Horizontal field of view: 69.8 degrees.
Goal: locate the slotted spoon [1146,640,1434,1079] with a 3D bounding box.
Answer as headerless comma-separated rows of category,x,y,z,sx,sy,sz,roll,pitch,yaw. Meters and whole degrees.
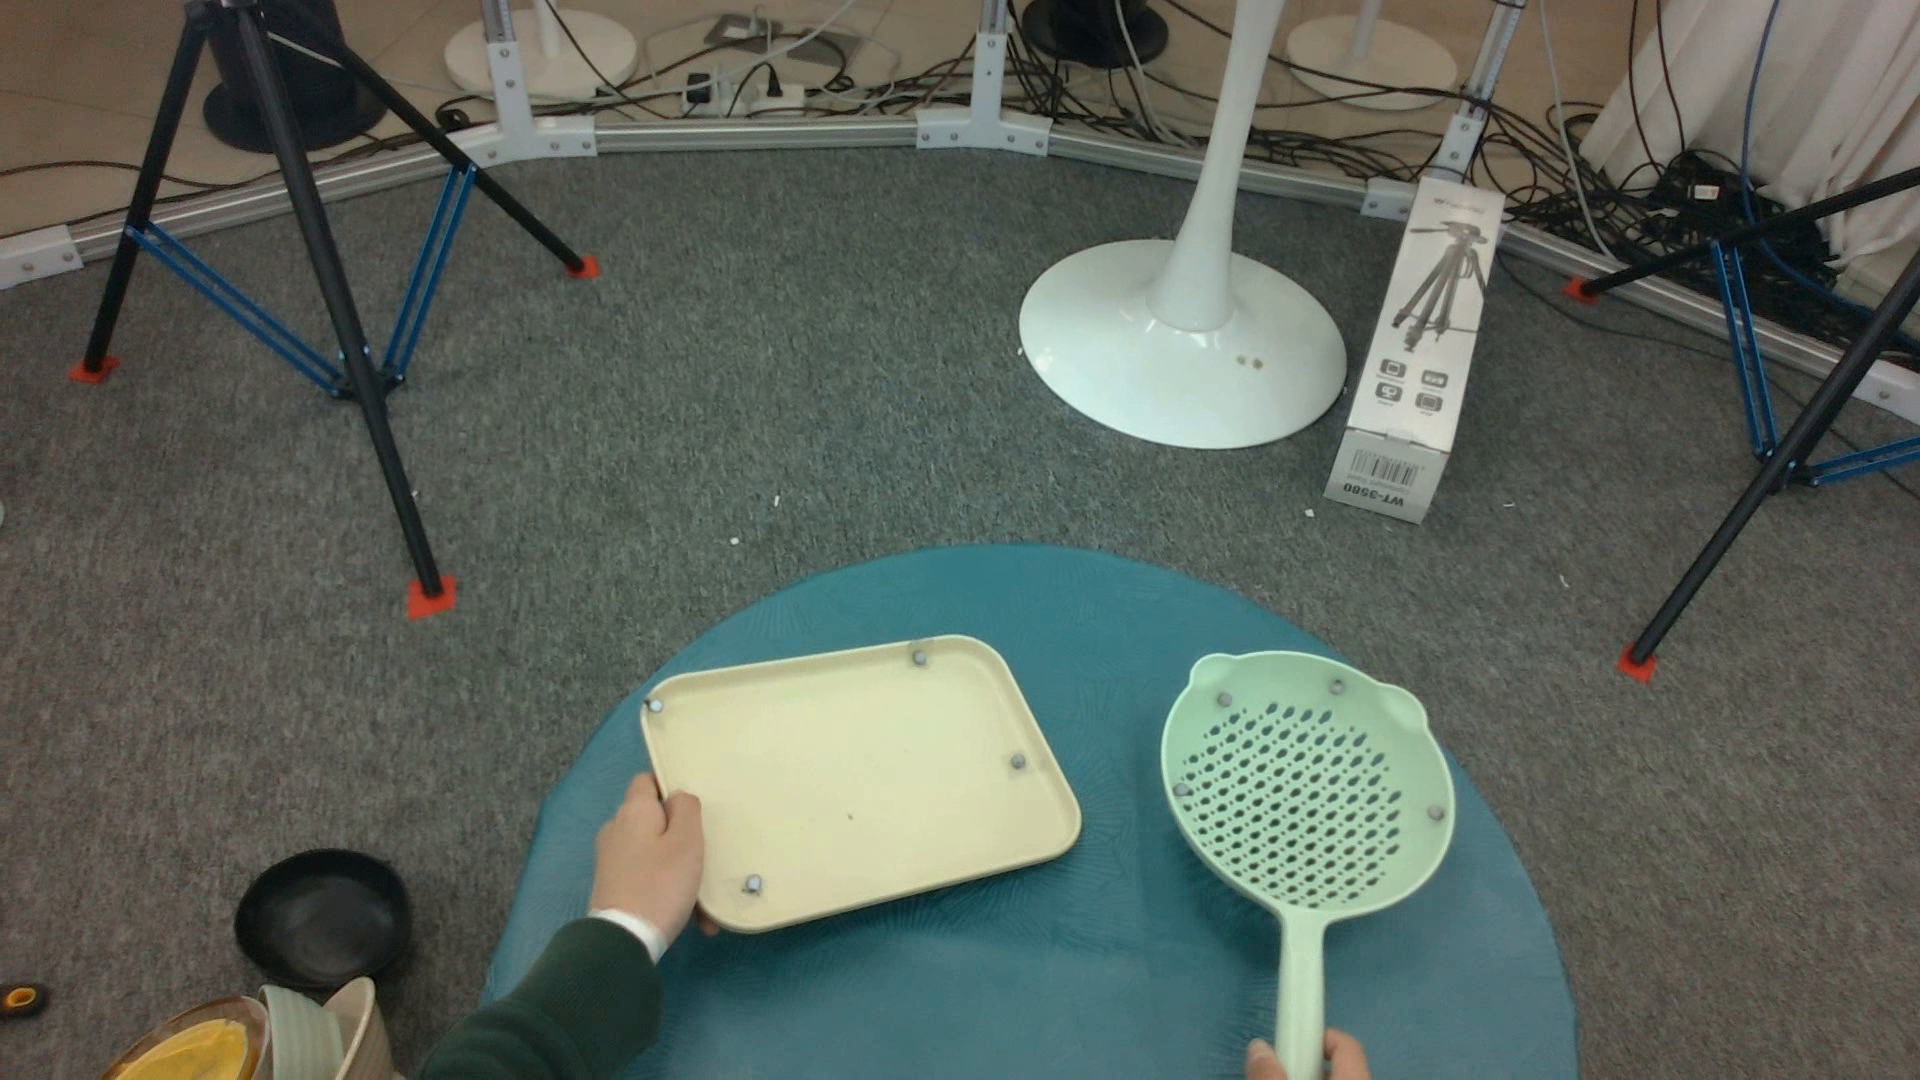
slotted spoon,0.173,0.212,0.751,0.169,0.075,0.360,10,44,4

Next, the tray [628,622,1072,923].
tray,-0.063,0.130,0.811,0.240,0.017,0.172,-7,49,-27
